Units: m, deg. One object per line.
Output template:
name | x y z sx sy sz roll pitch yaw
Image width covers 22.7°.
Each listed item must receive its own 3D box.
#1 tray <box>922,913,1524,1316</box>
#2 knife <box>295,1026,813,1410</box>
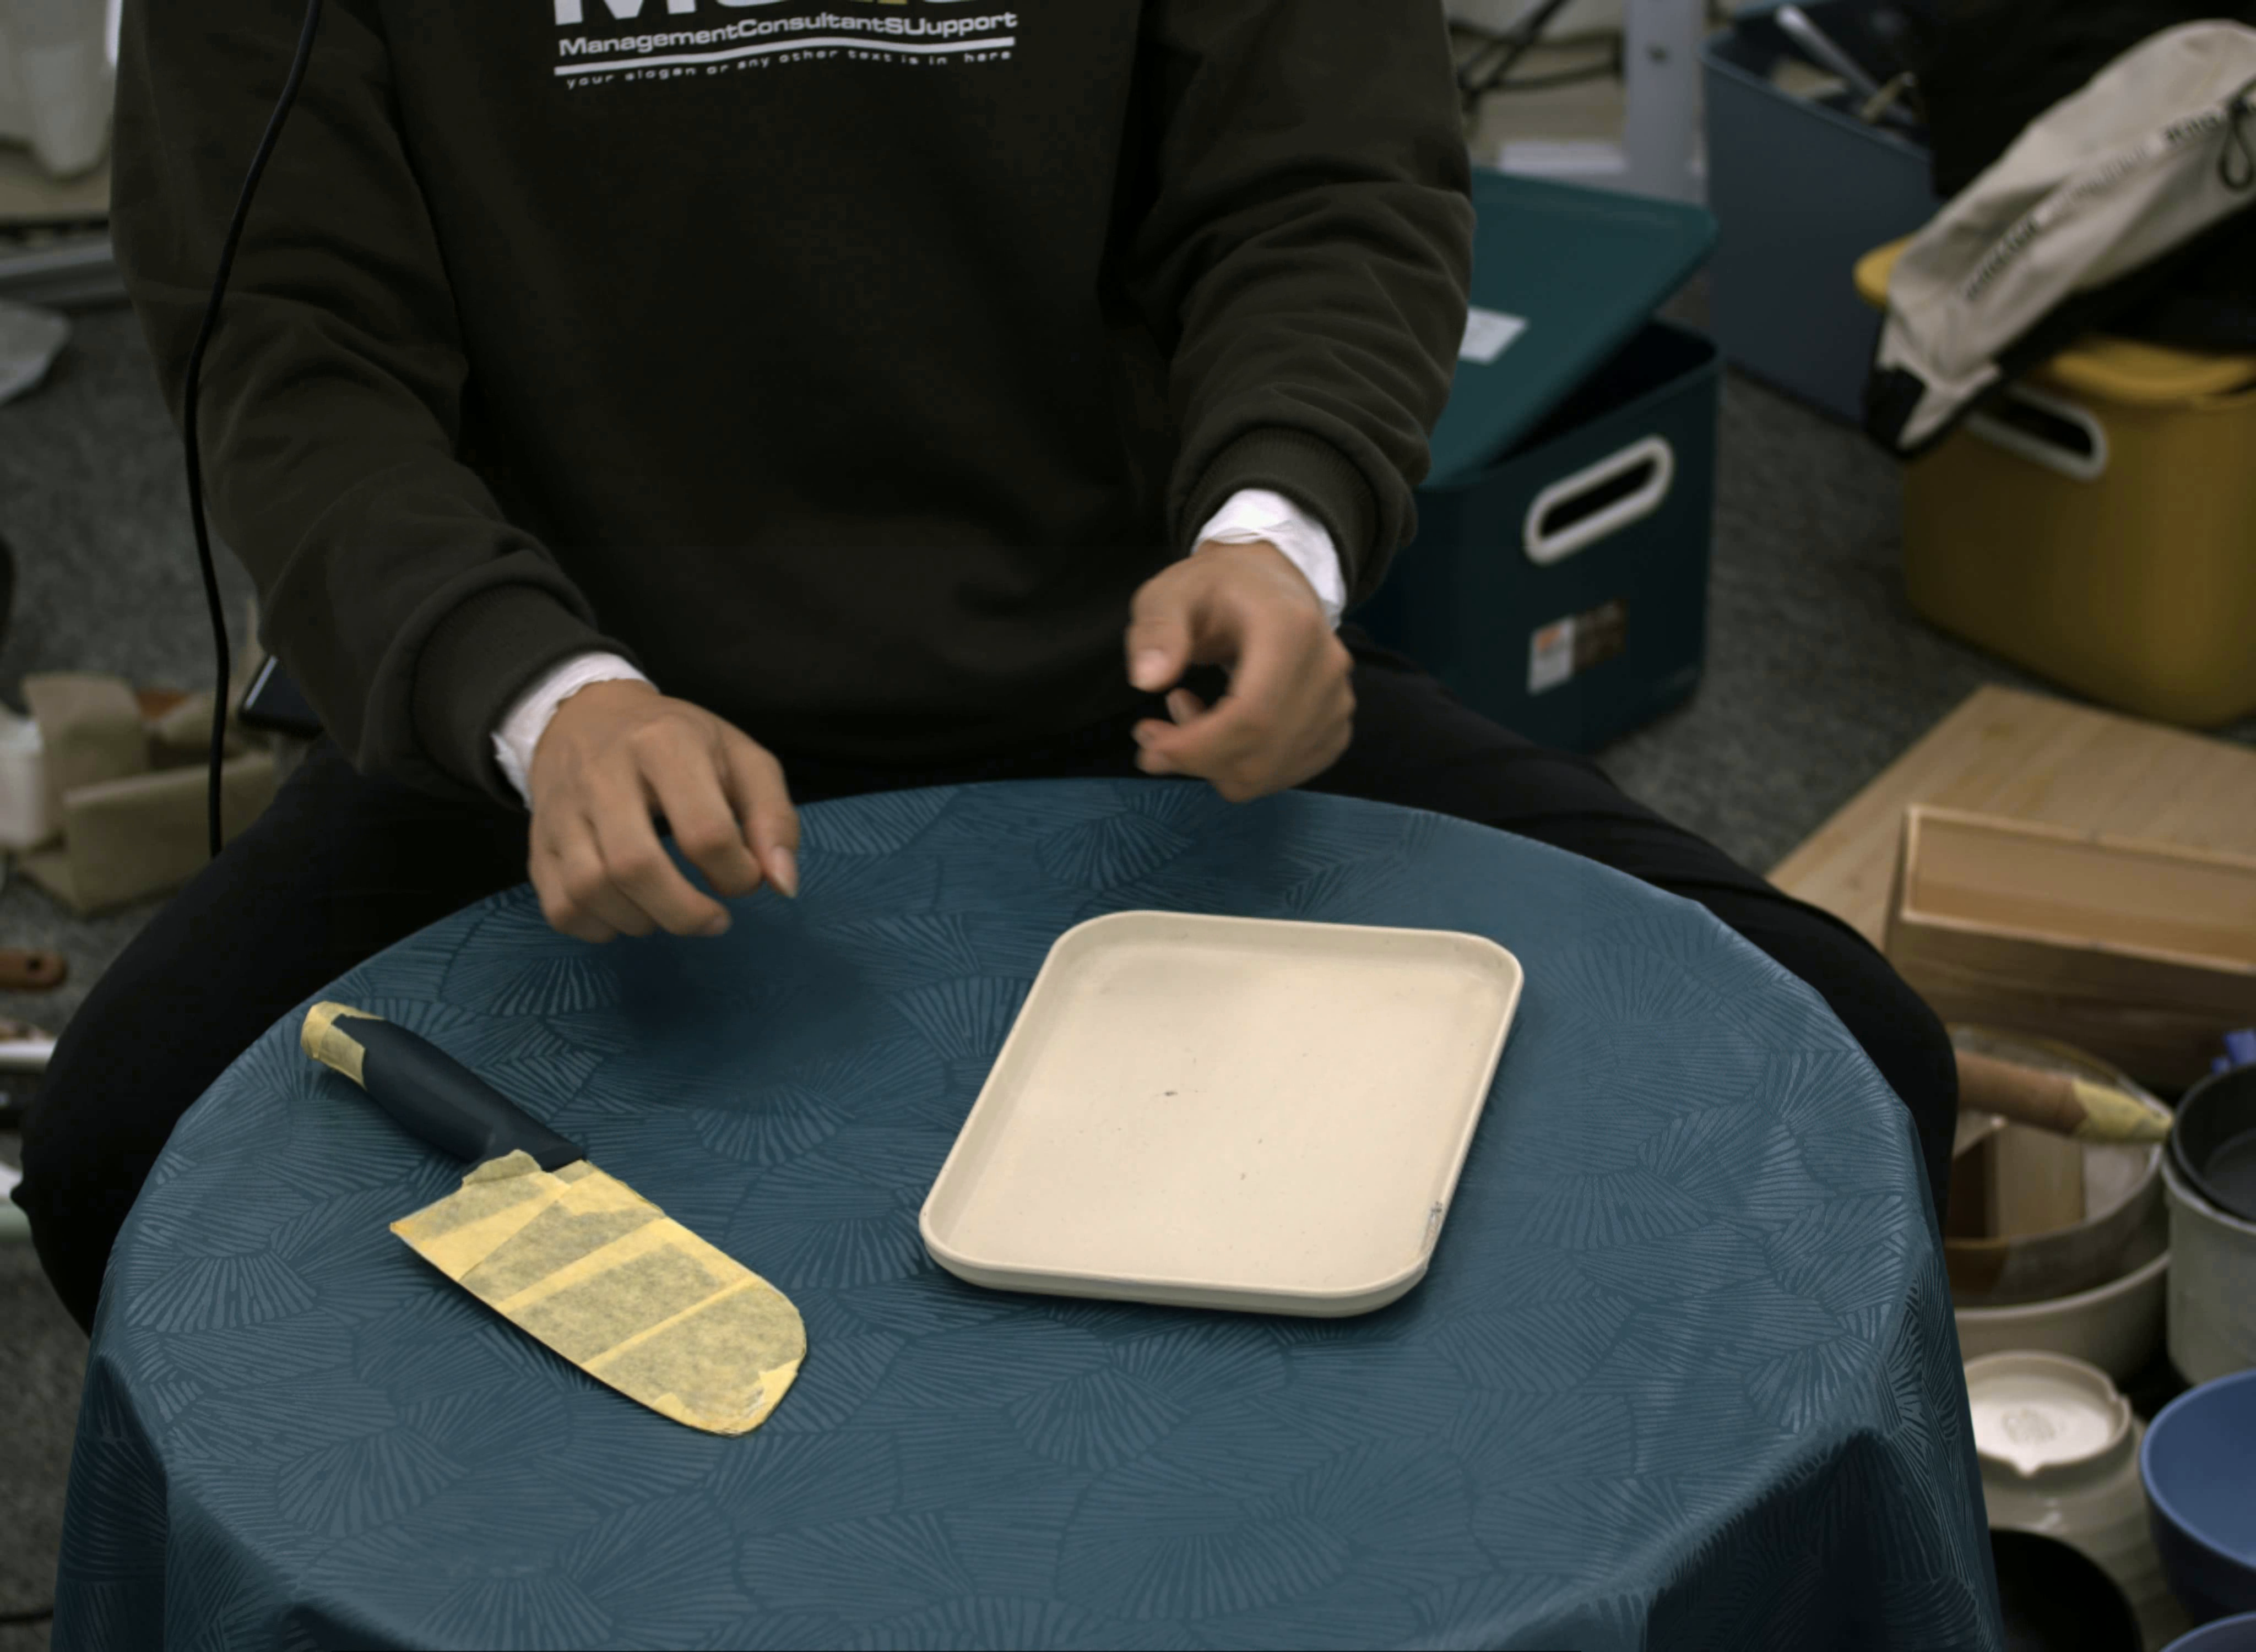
tray | 0.035 0.096 1.889 0.170 0.017 0.244 3 28 13
knife | -0.200 0.130 1.848 0.082 0.027 0.290 -20 33 -34
